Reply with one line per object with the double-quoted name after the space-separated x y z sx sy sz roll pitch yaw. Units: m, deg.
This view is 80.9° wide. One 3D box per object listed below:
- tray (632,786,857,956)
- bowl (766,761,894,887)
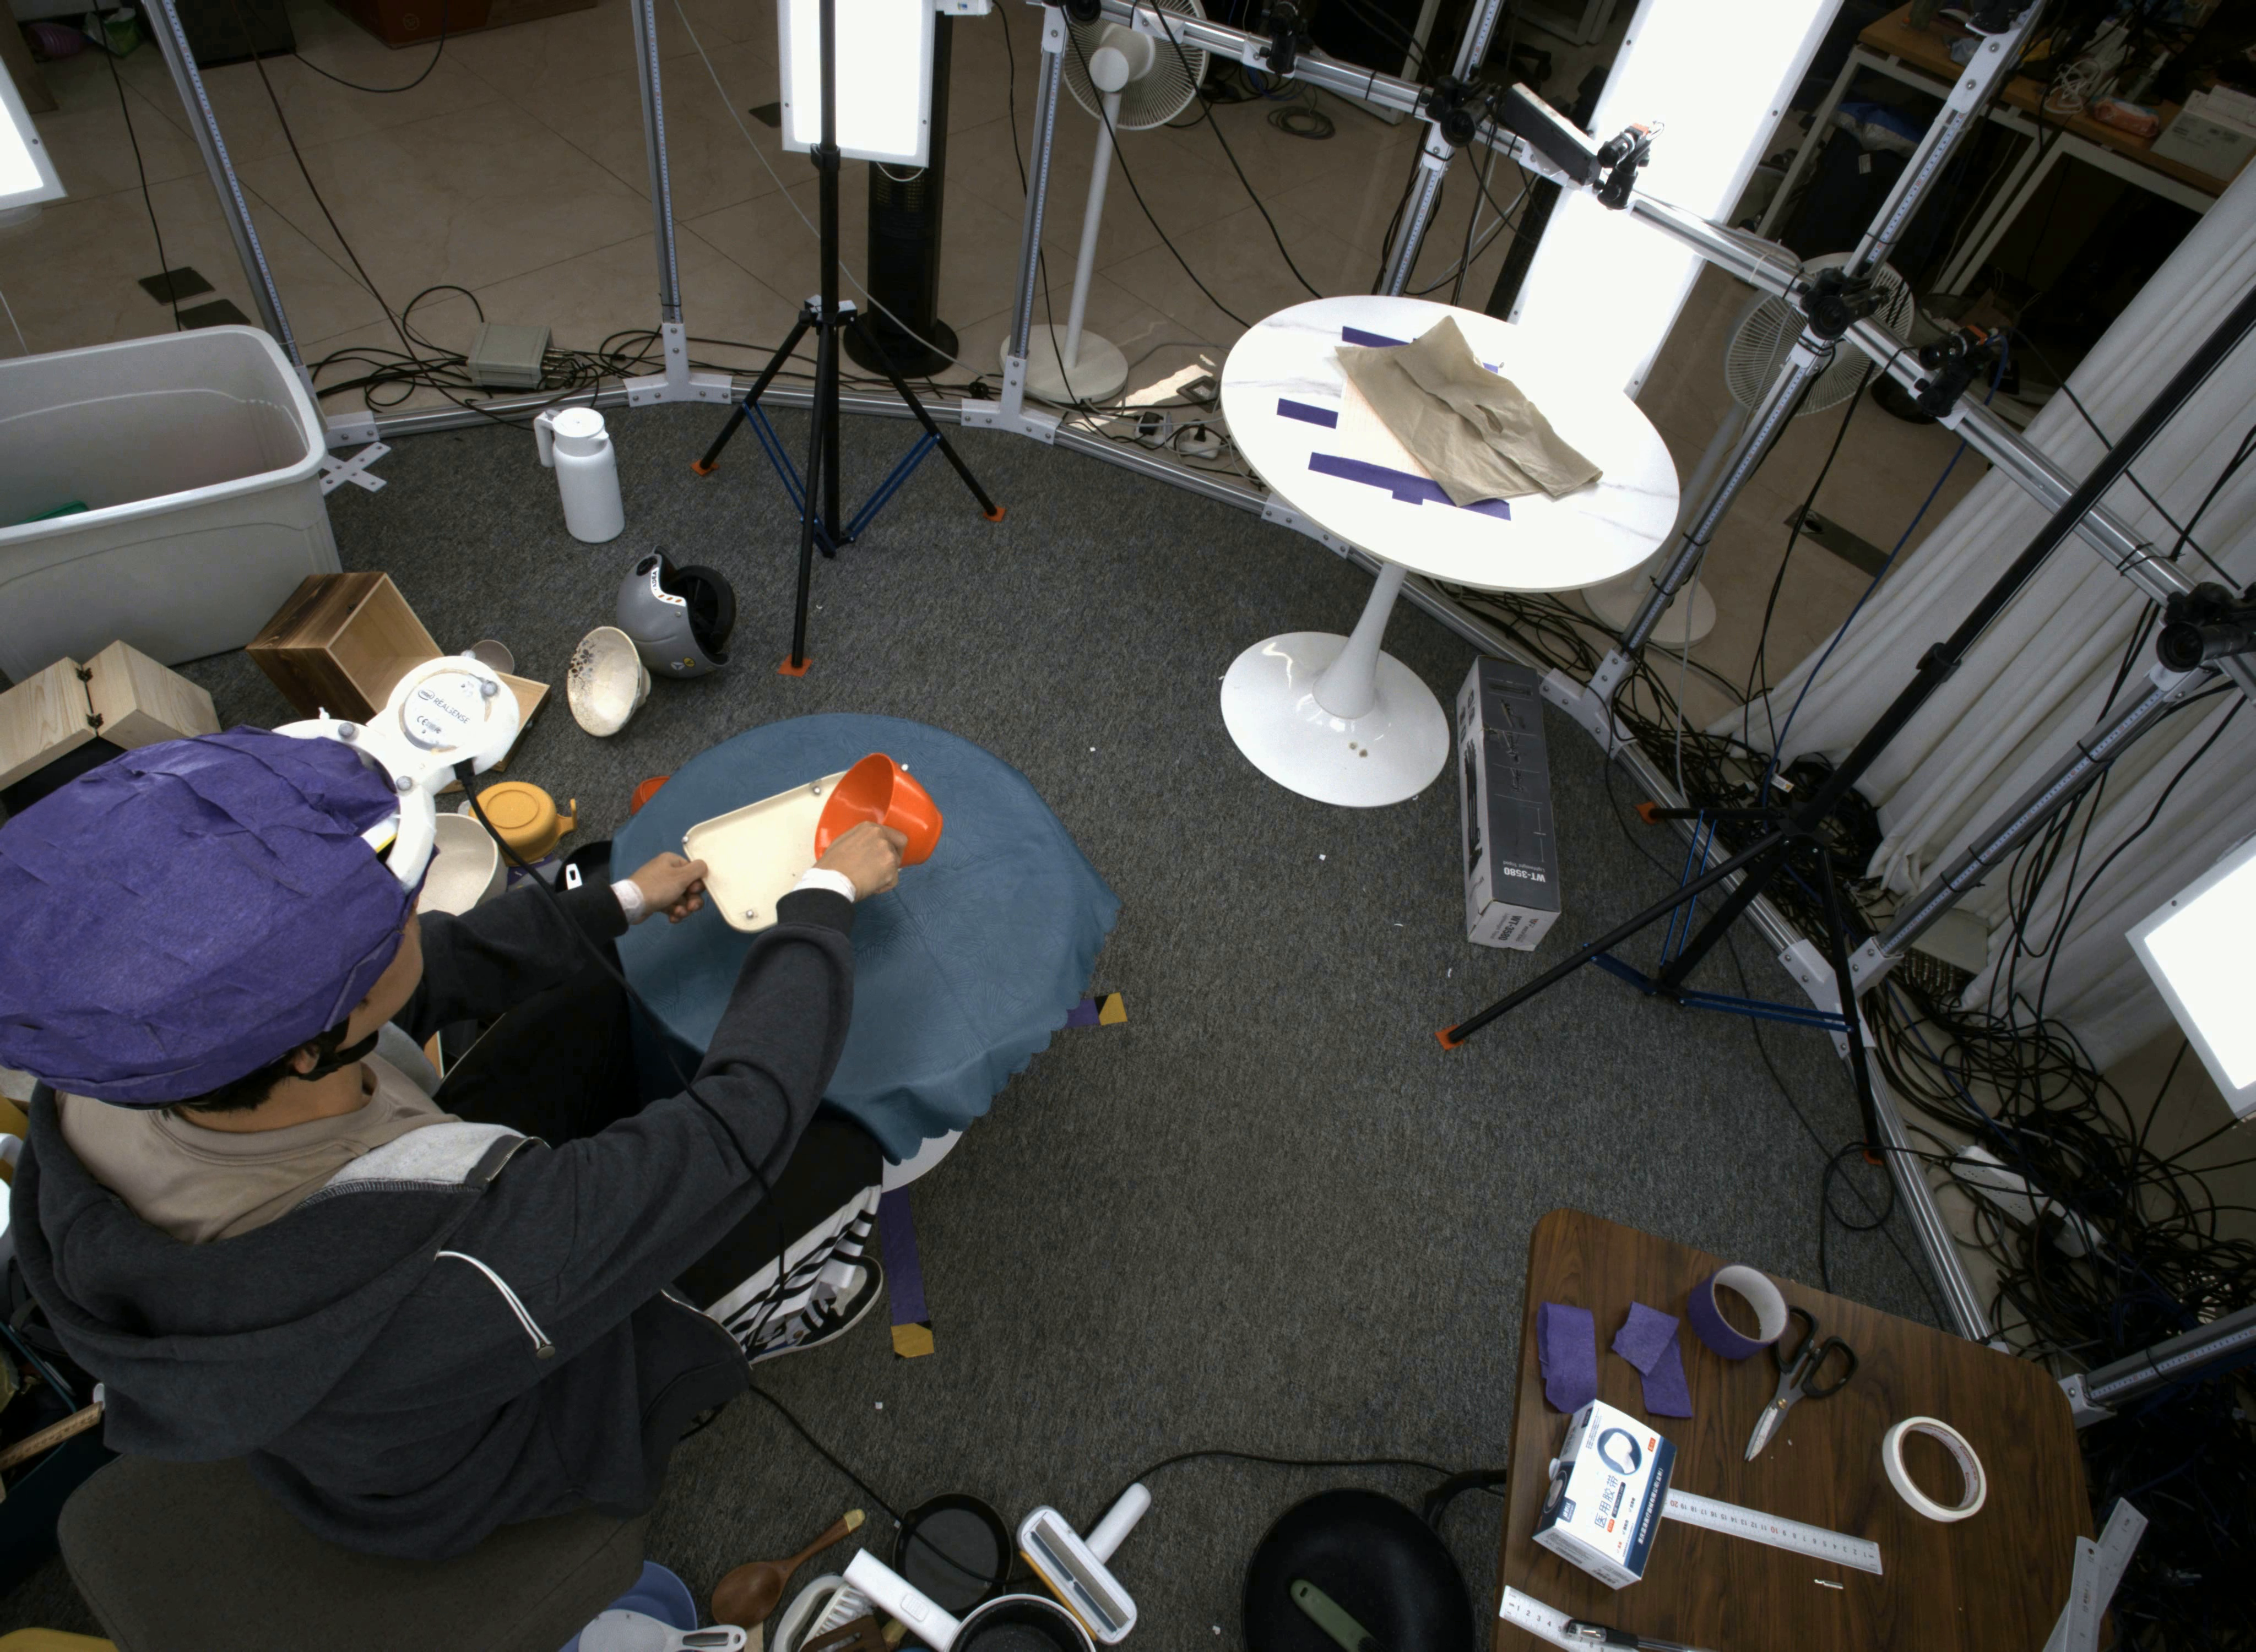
-0.460 0.050 1.558 0.241 0.018 0.168 -28 68 -32 "tray"
-0.330 0.009 1.465 0.107 0.147 0.145 22 45 -30 "bowl"
